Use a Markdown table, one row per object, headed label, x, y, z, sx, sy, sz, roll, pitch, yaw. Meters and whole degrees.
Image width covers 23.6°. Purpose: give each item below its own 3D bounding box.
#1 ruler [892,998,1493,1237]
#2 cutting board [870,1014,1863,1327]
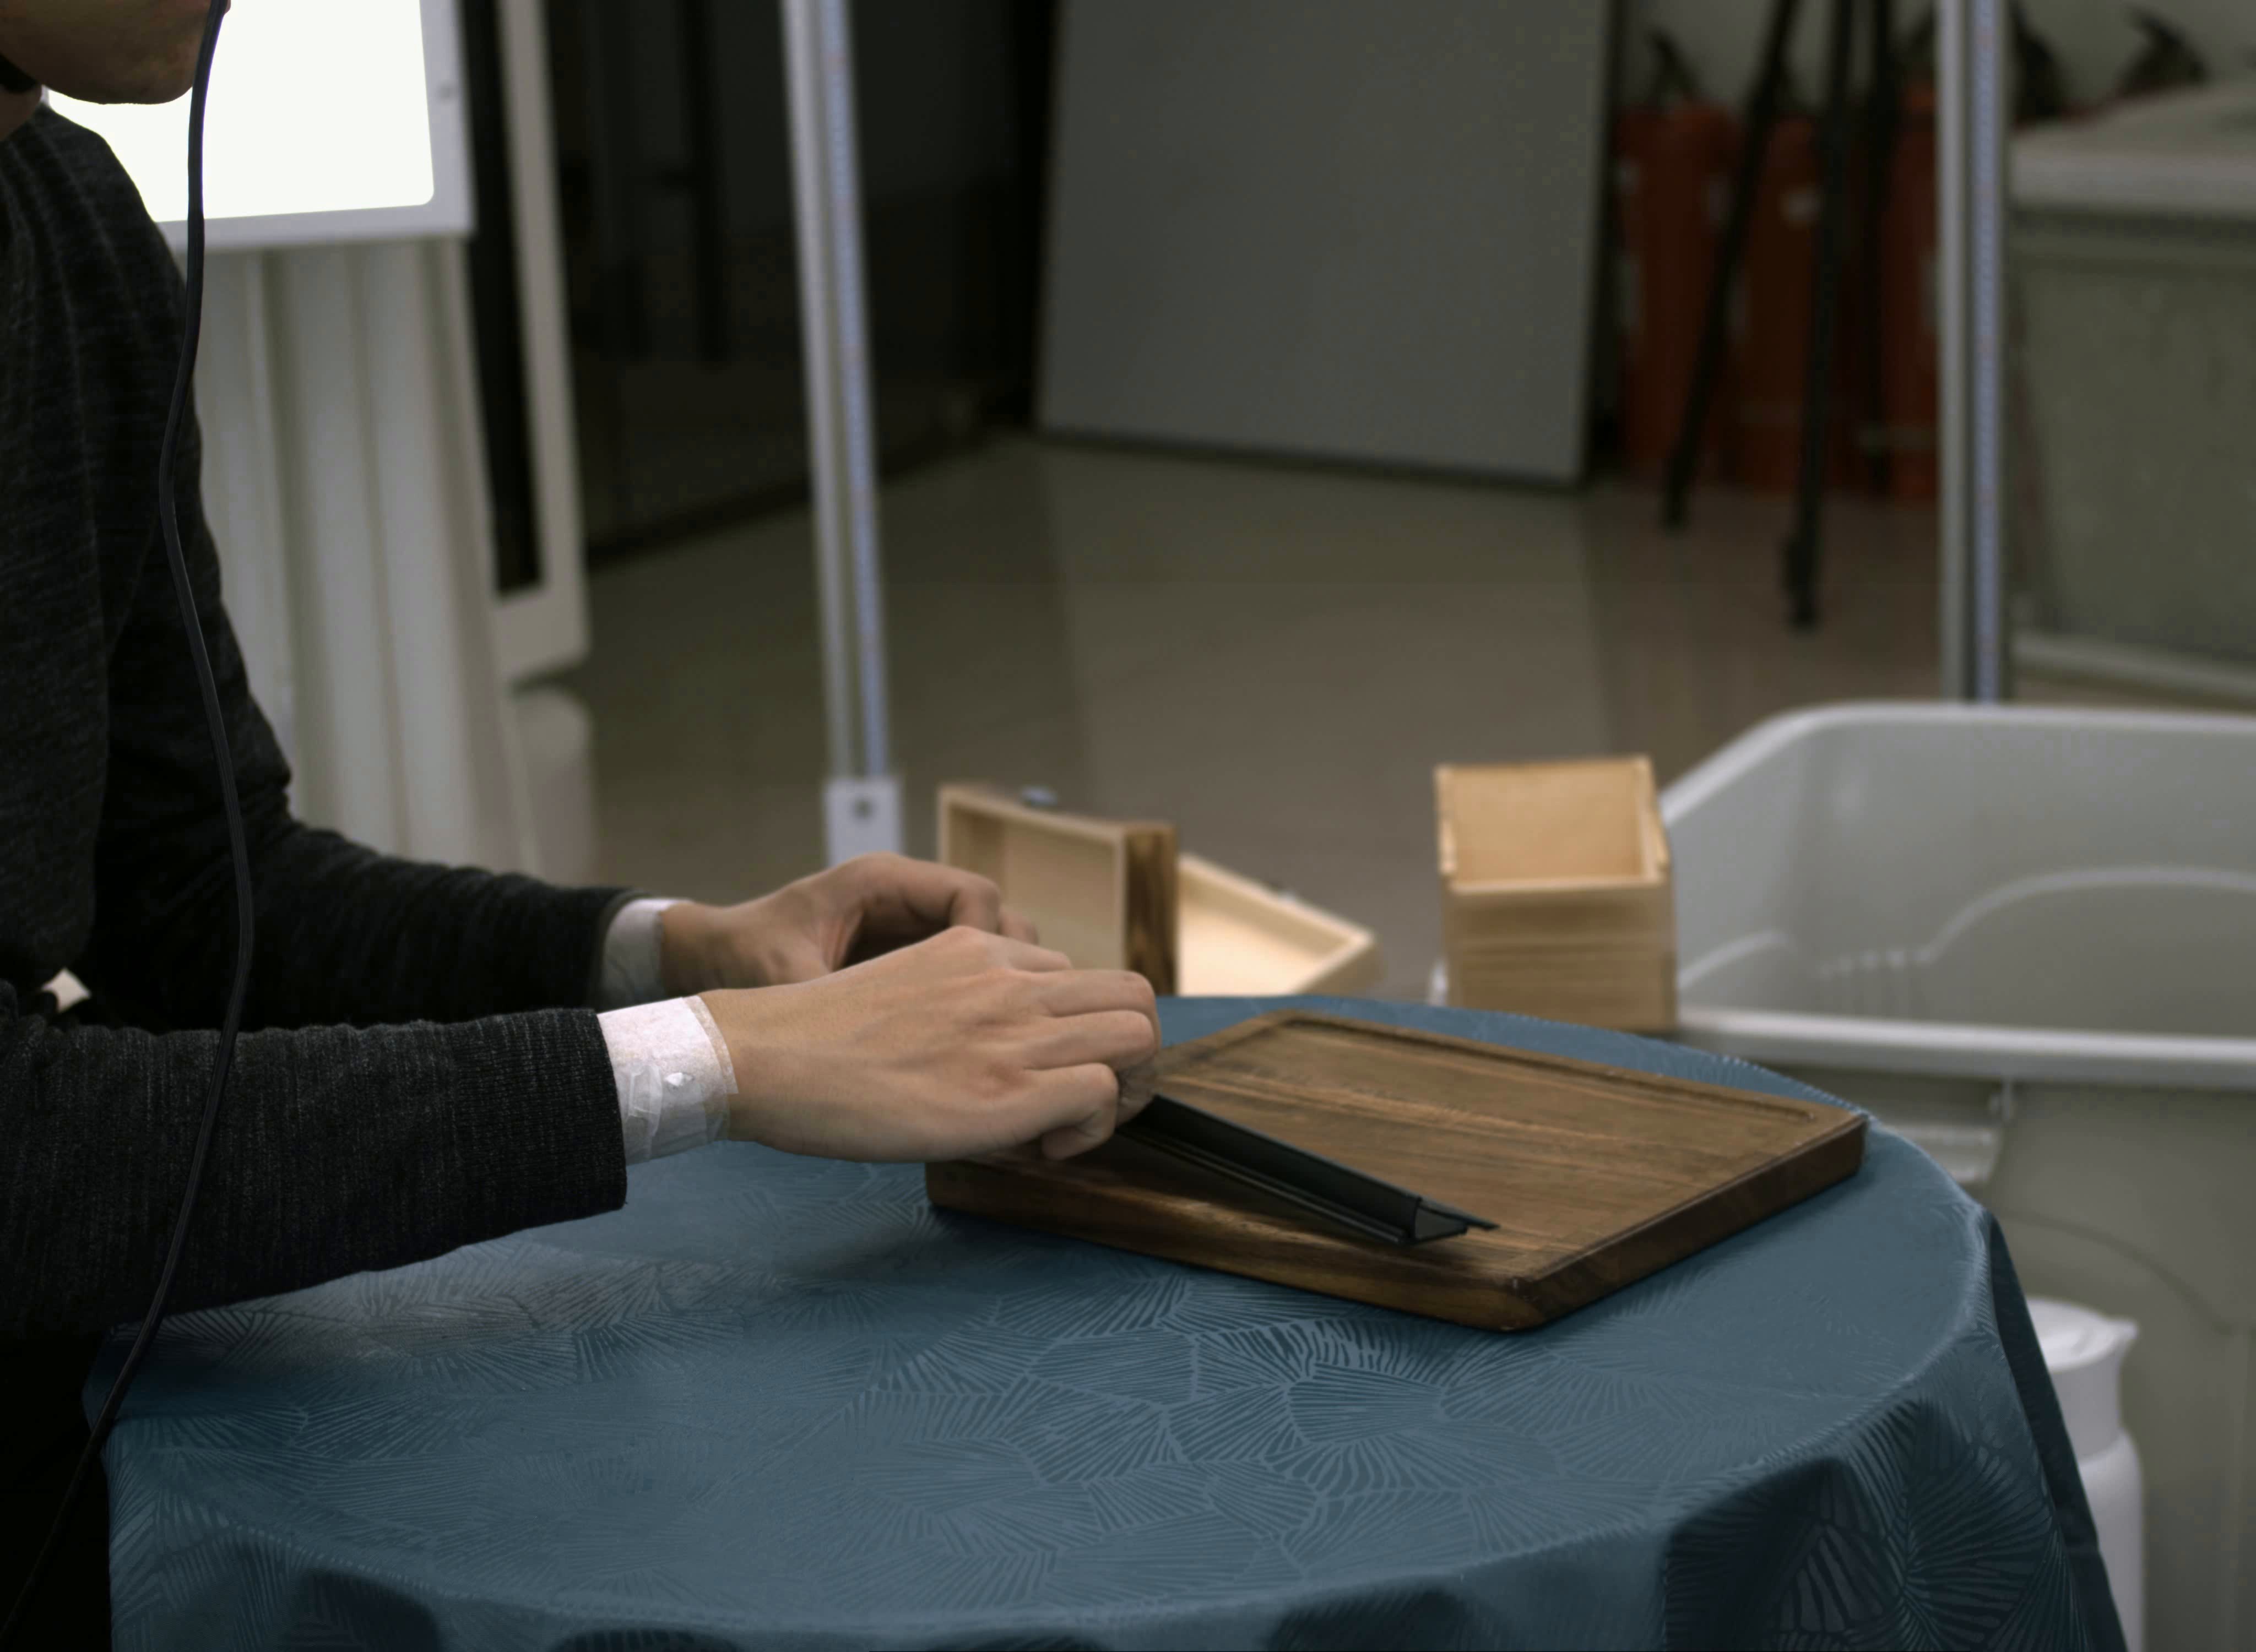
| label | x | y | z | sx | sy | sz | roll | pitch | yaw |
| --- | --- | --- | --- | --- | --- | --- | --- | --- | --- |
| ruler | 0.015 | 0.089 | 1.744 | 0.038 | 0.017 | 0.316 | -5 | 12 | -31 |
| cutting board | 0.049 | 0.103 | 1.785 | 0.355 | 0.023 | 0.197 | 8 | 18 | 41 |
